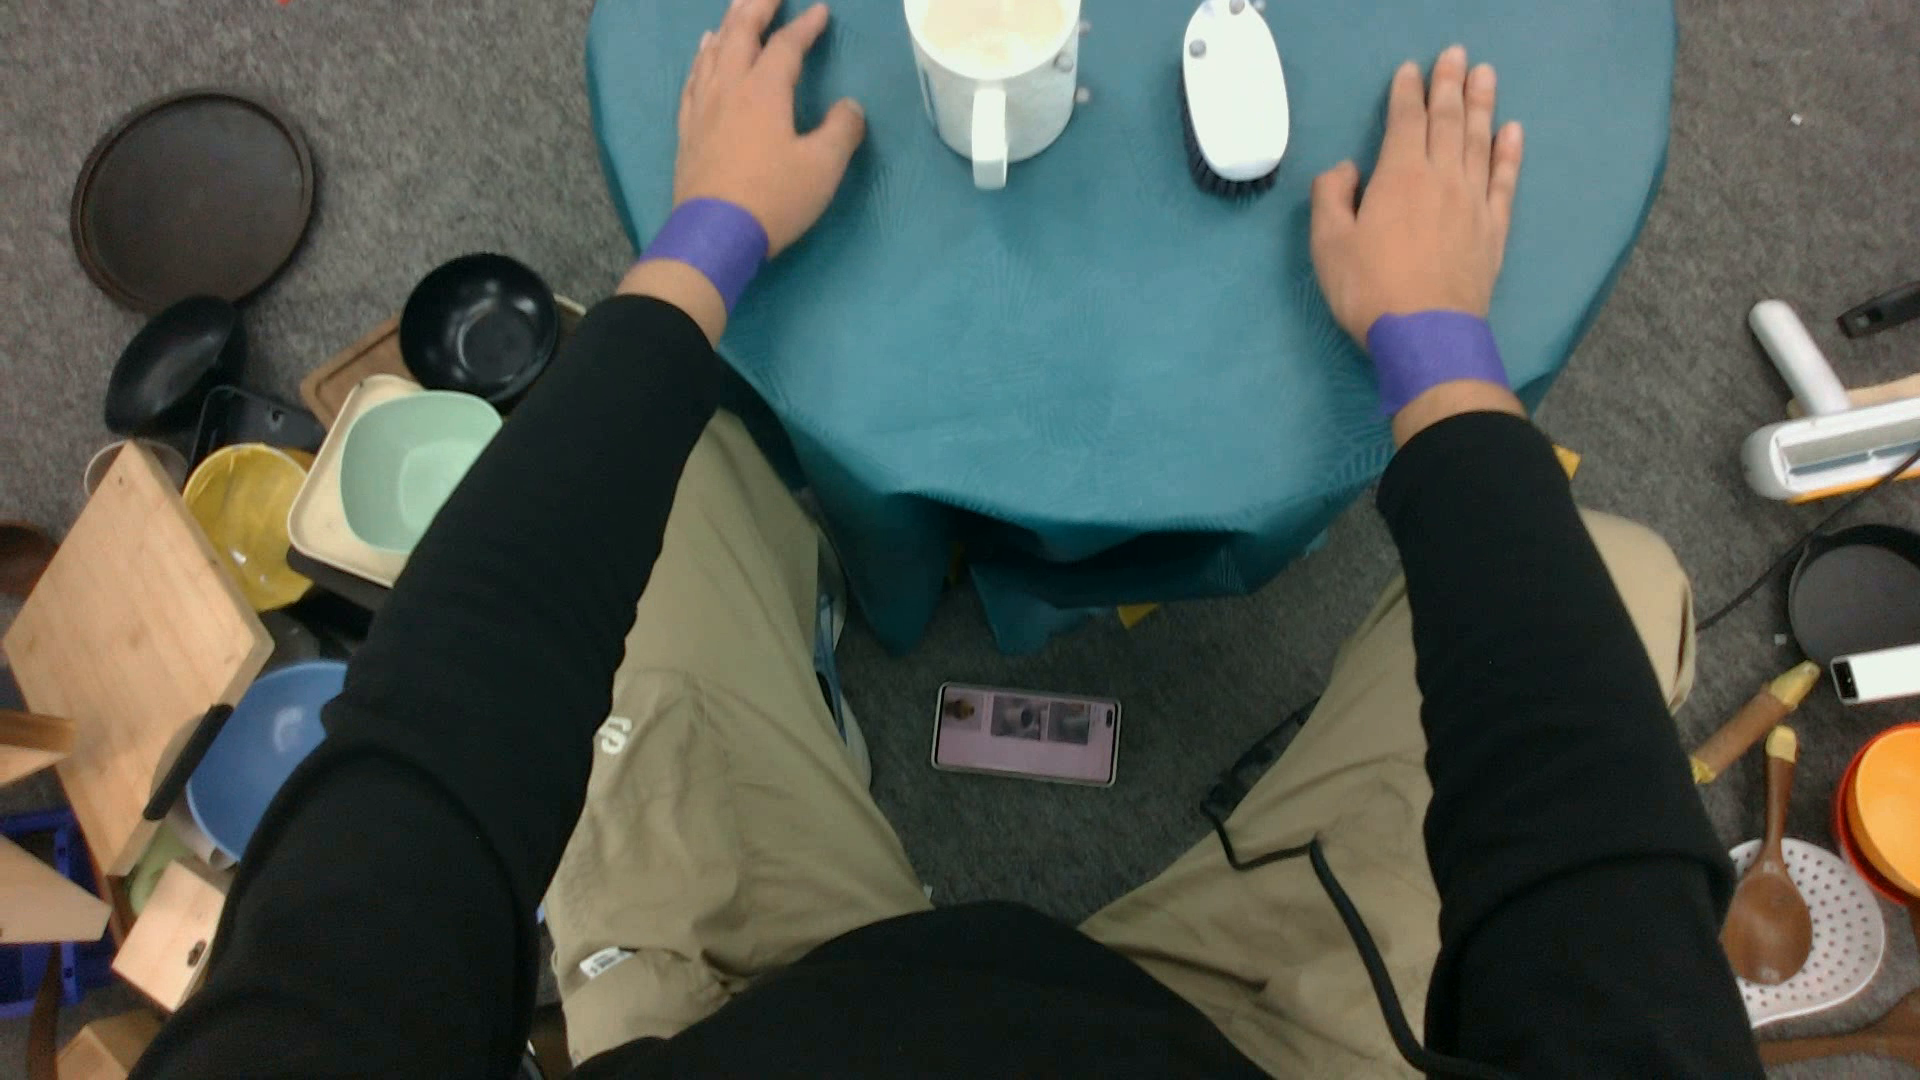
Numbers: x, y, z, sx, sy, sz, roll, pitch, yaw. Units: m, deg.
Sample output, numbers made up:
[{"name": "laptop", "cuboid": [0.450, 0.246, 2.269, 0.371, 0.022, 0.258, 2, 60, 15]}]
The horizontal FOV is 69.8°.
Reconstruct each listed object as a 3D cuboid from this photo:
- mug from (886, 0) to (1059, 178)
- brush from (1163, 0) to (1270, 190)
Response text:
[{"name": "mug", "cuboid": [0.008, -0.244, 0.709, 0.085, 0.102, 0.118, 1, 81, 3]}, {"name": "brush", "cuboid": [0.135, -0.243, 0.718, 0.050, 0.072, 0.099, -7, 79, 3]}]
